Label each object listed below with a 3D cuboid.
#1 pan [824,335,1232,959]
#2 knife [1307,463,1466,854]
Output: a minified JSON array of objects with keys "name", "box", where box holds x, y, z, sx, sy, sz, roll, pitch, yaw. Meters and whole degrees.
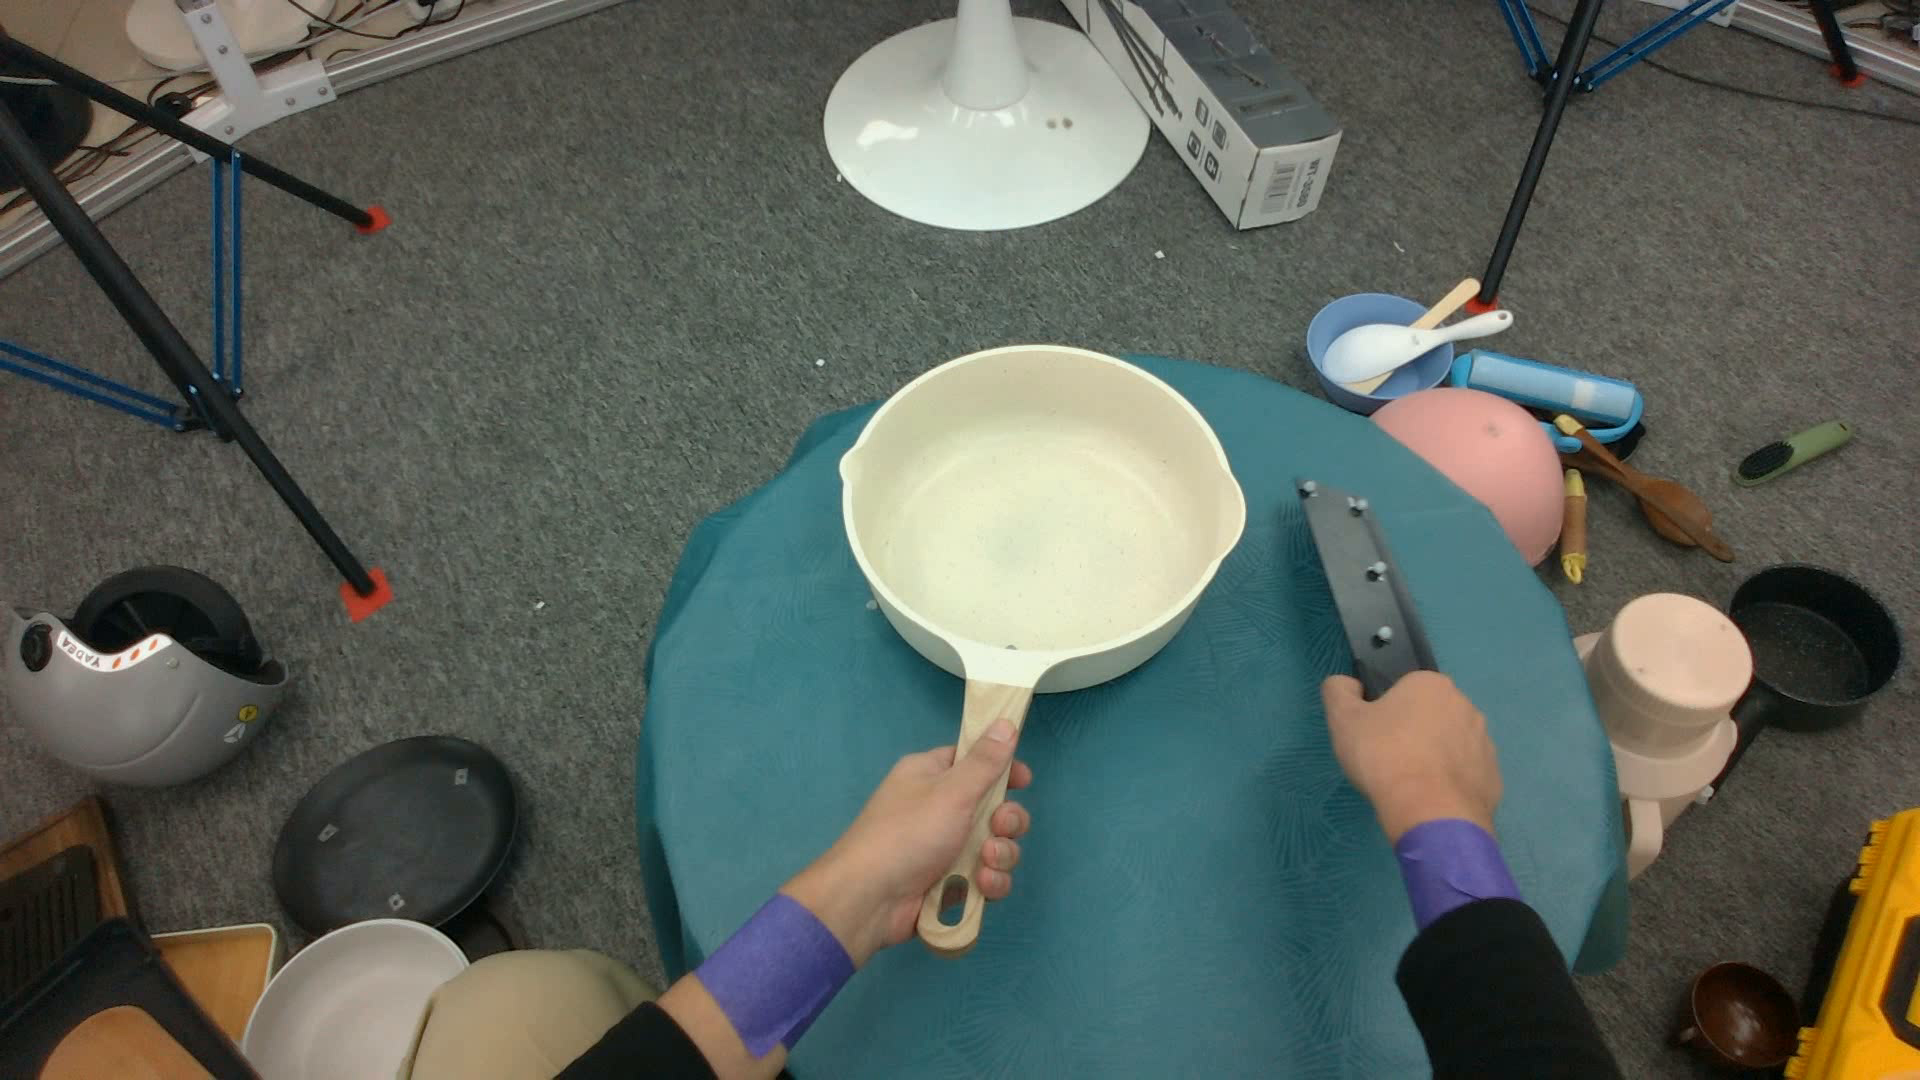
[{"name":"pan","box":[0.027,0.055,0.853,0.263,0.101,0.437,8,55,5]},{"name":"knife","box":[0.263,0.059,0.839,0.081,0.021,0.304,21,40,-14]}]
